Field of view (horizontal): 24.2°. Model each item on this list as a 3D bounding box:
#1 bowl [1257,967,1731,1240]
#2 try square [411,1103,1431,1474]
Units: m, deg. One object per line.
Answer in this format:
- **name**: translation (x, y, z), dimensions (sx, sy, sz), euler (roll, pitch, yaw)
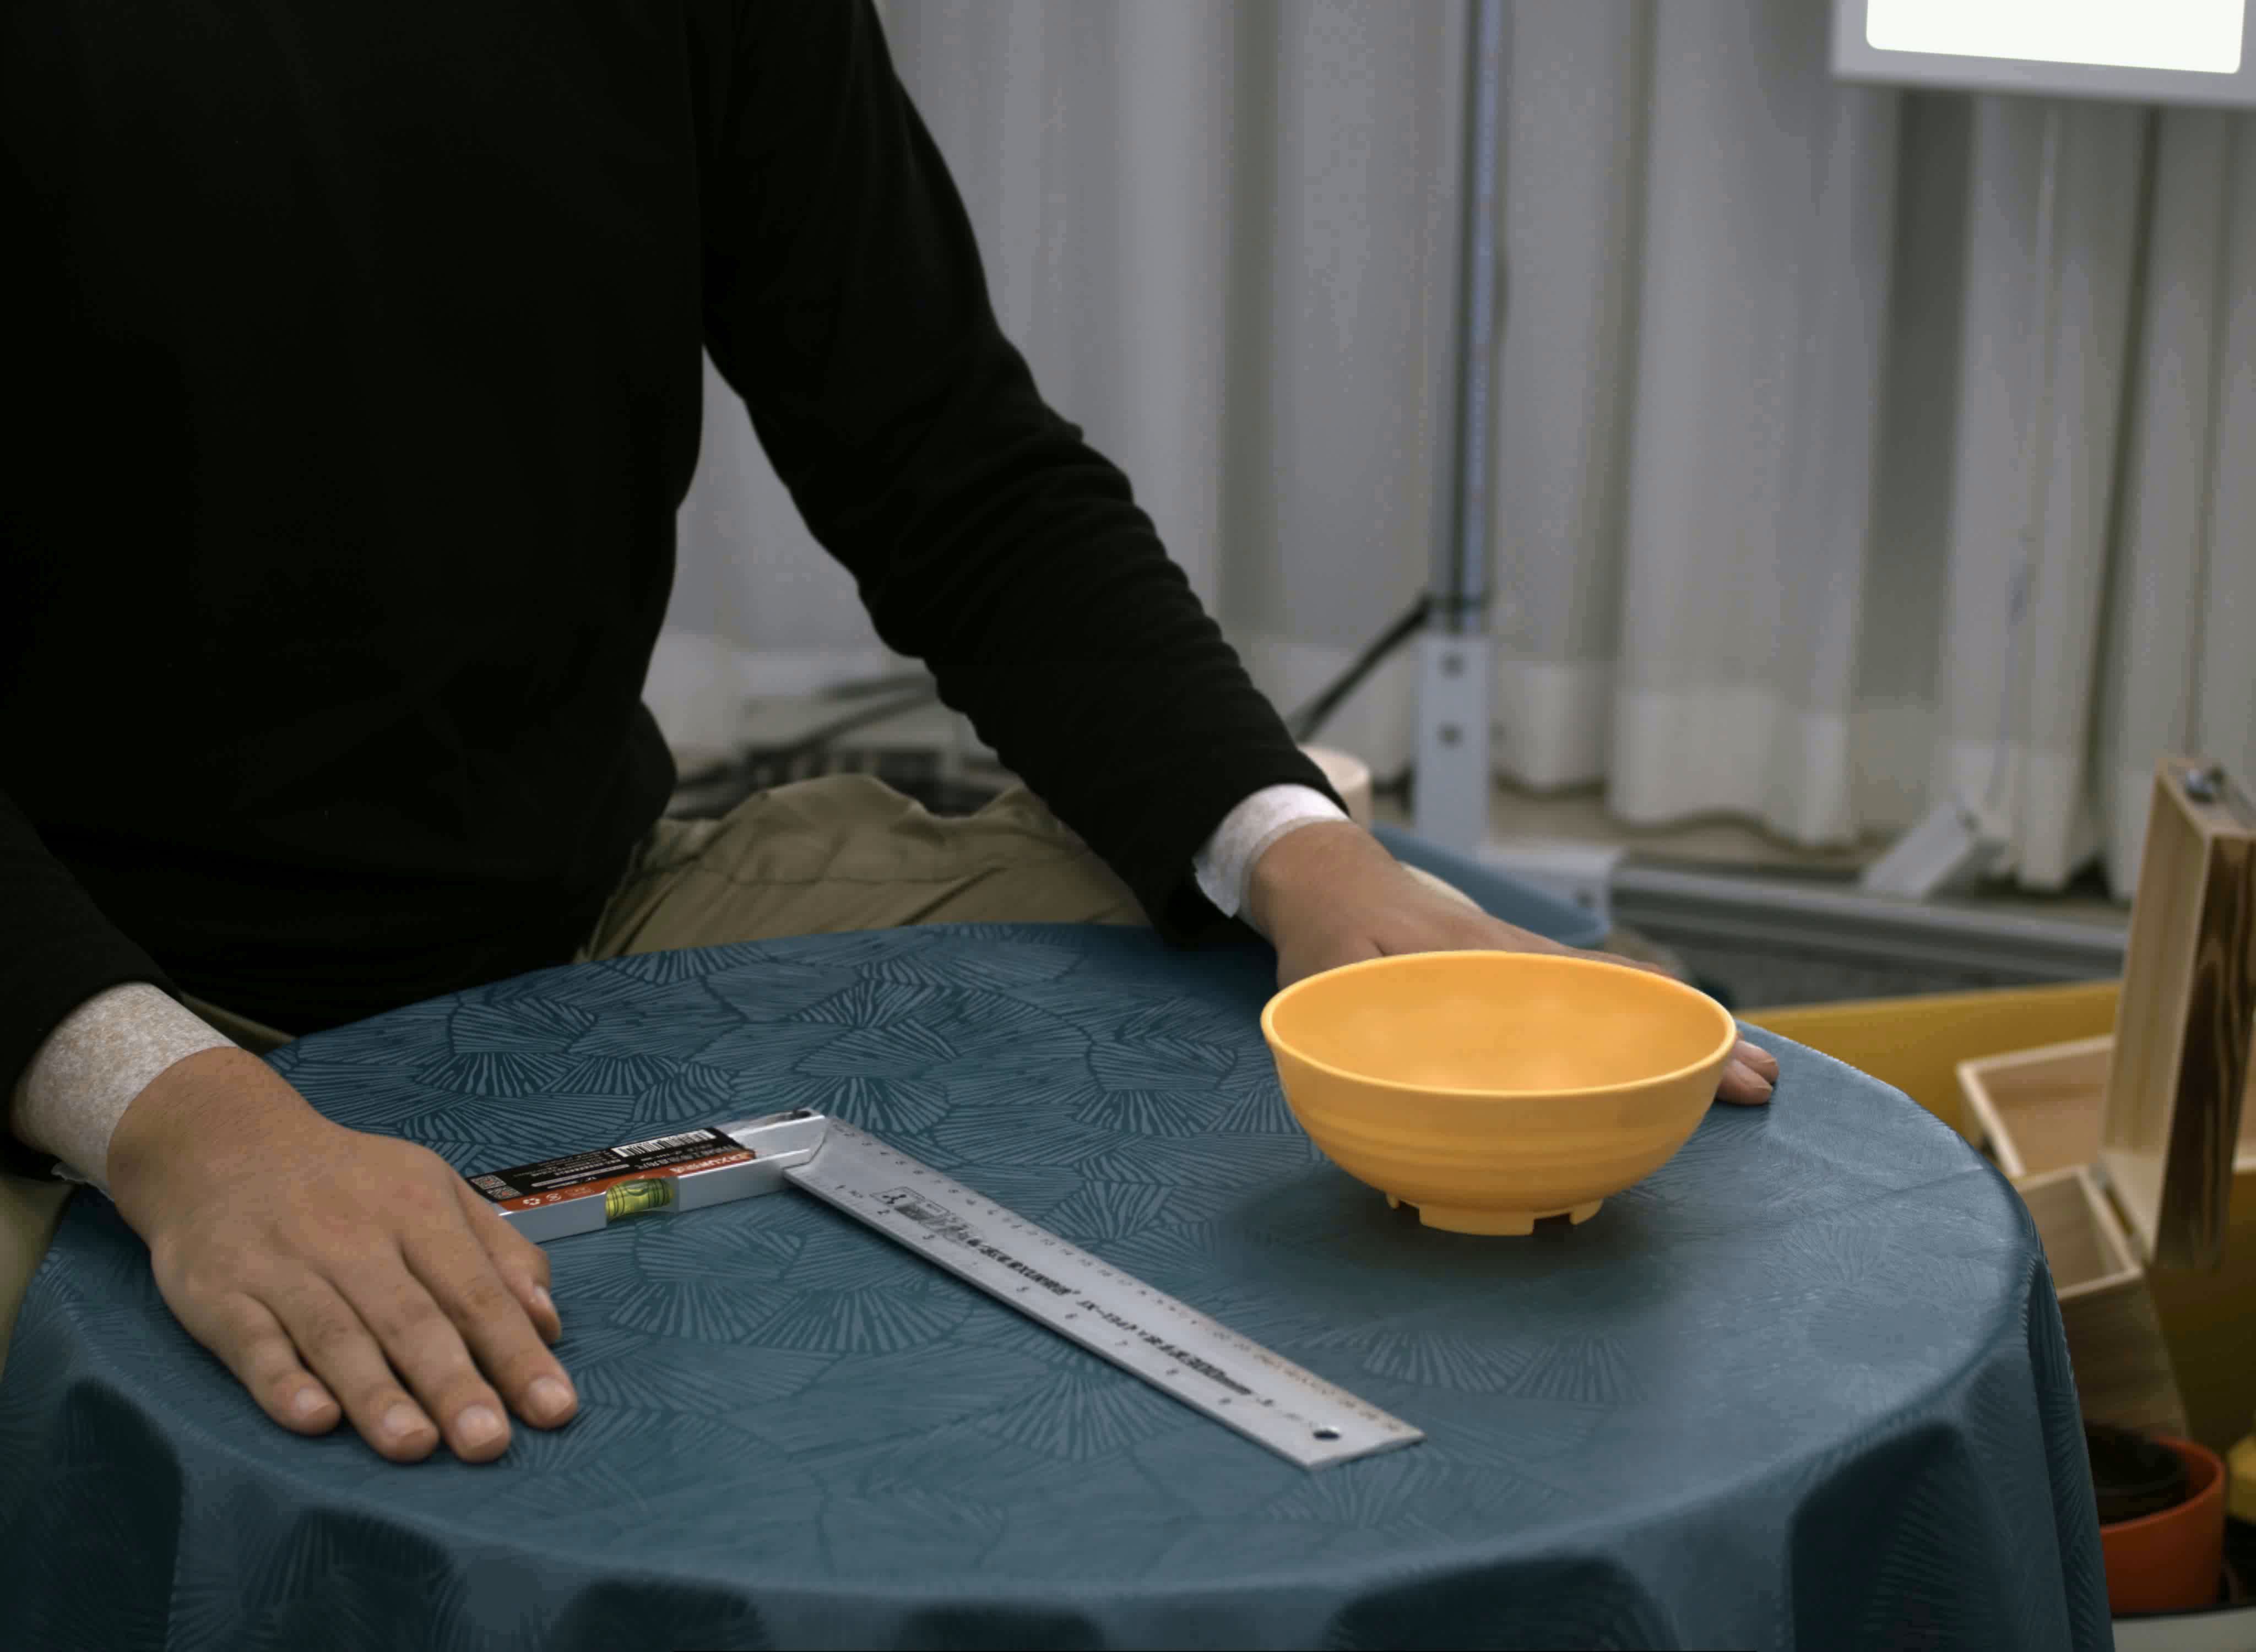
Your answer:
- **bowl**: translation (0.110, 0.088, 1.607), dimensions (0.145, 0.060, 0.144), euler (1, 13, 0)
- **try square**: translation (-0.067, 0.142, 1.507), dimensions (0.153, 0.016, 0.308), euler (-14, 22, -32)
